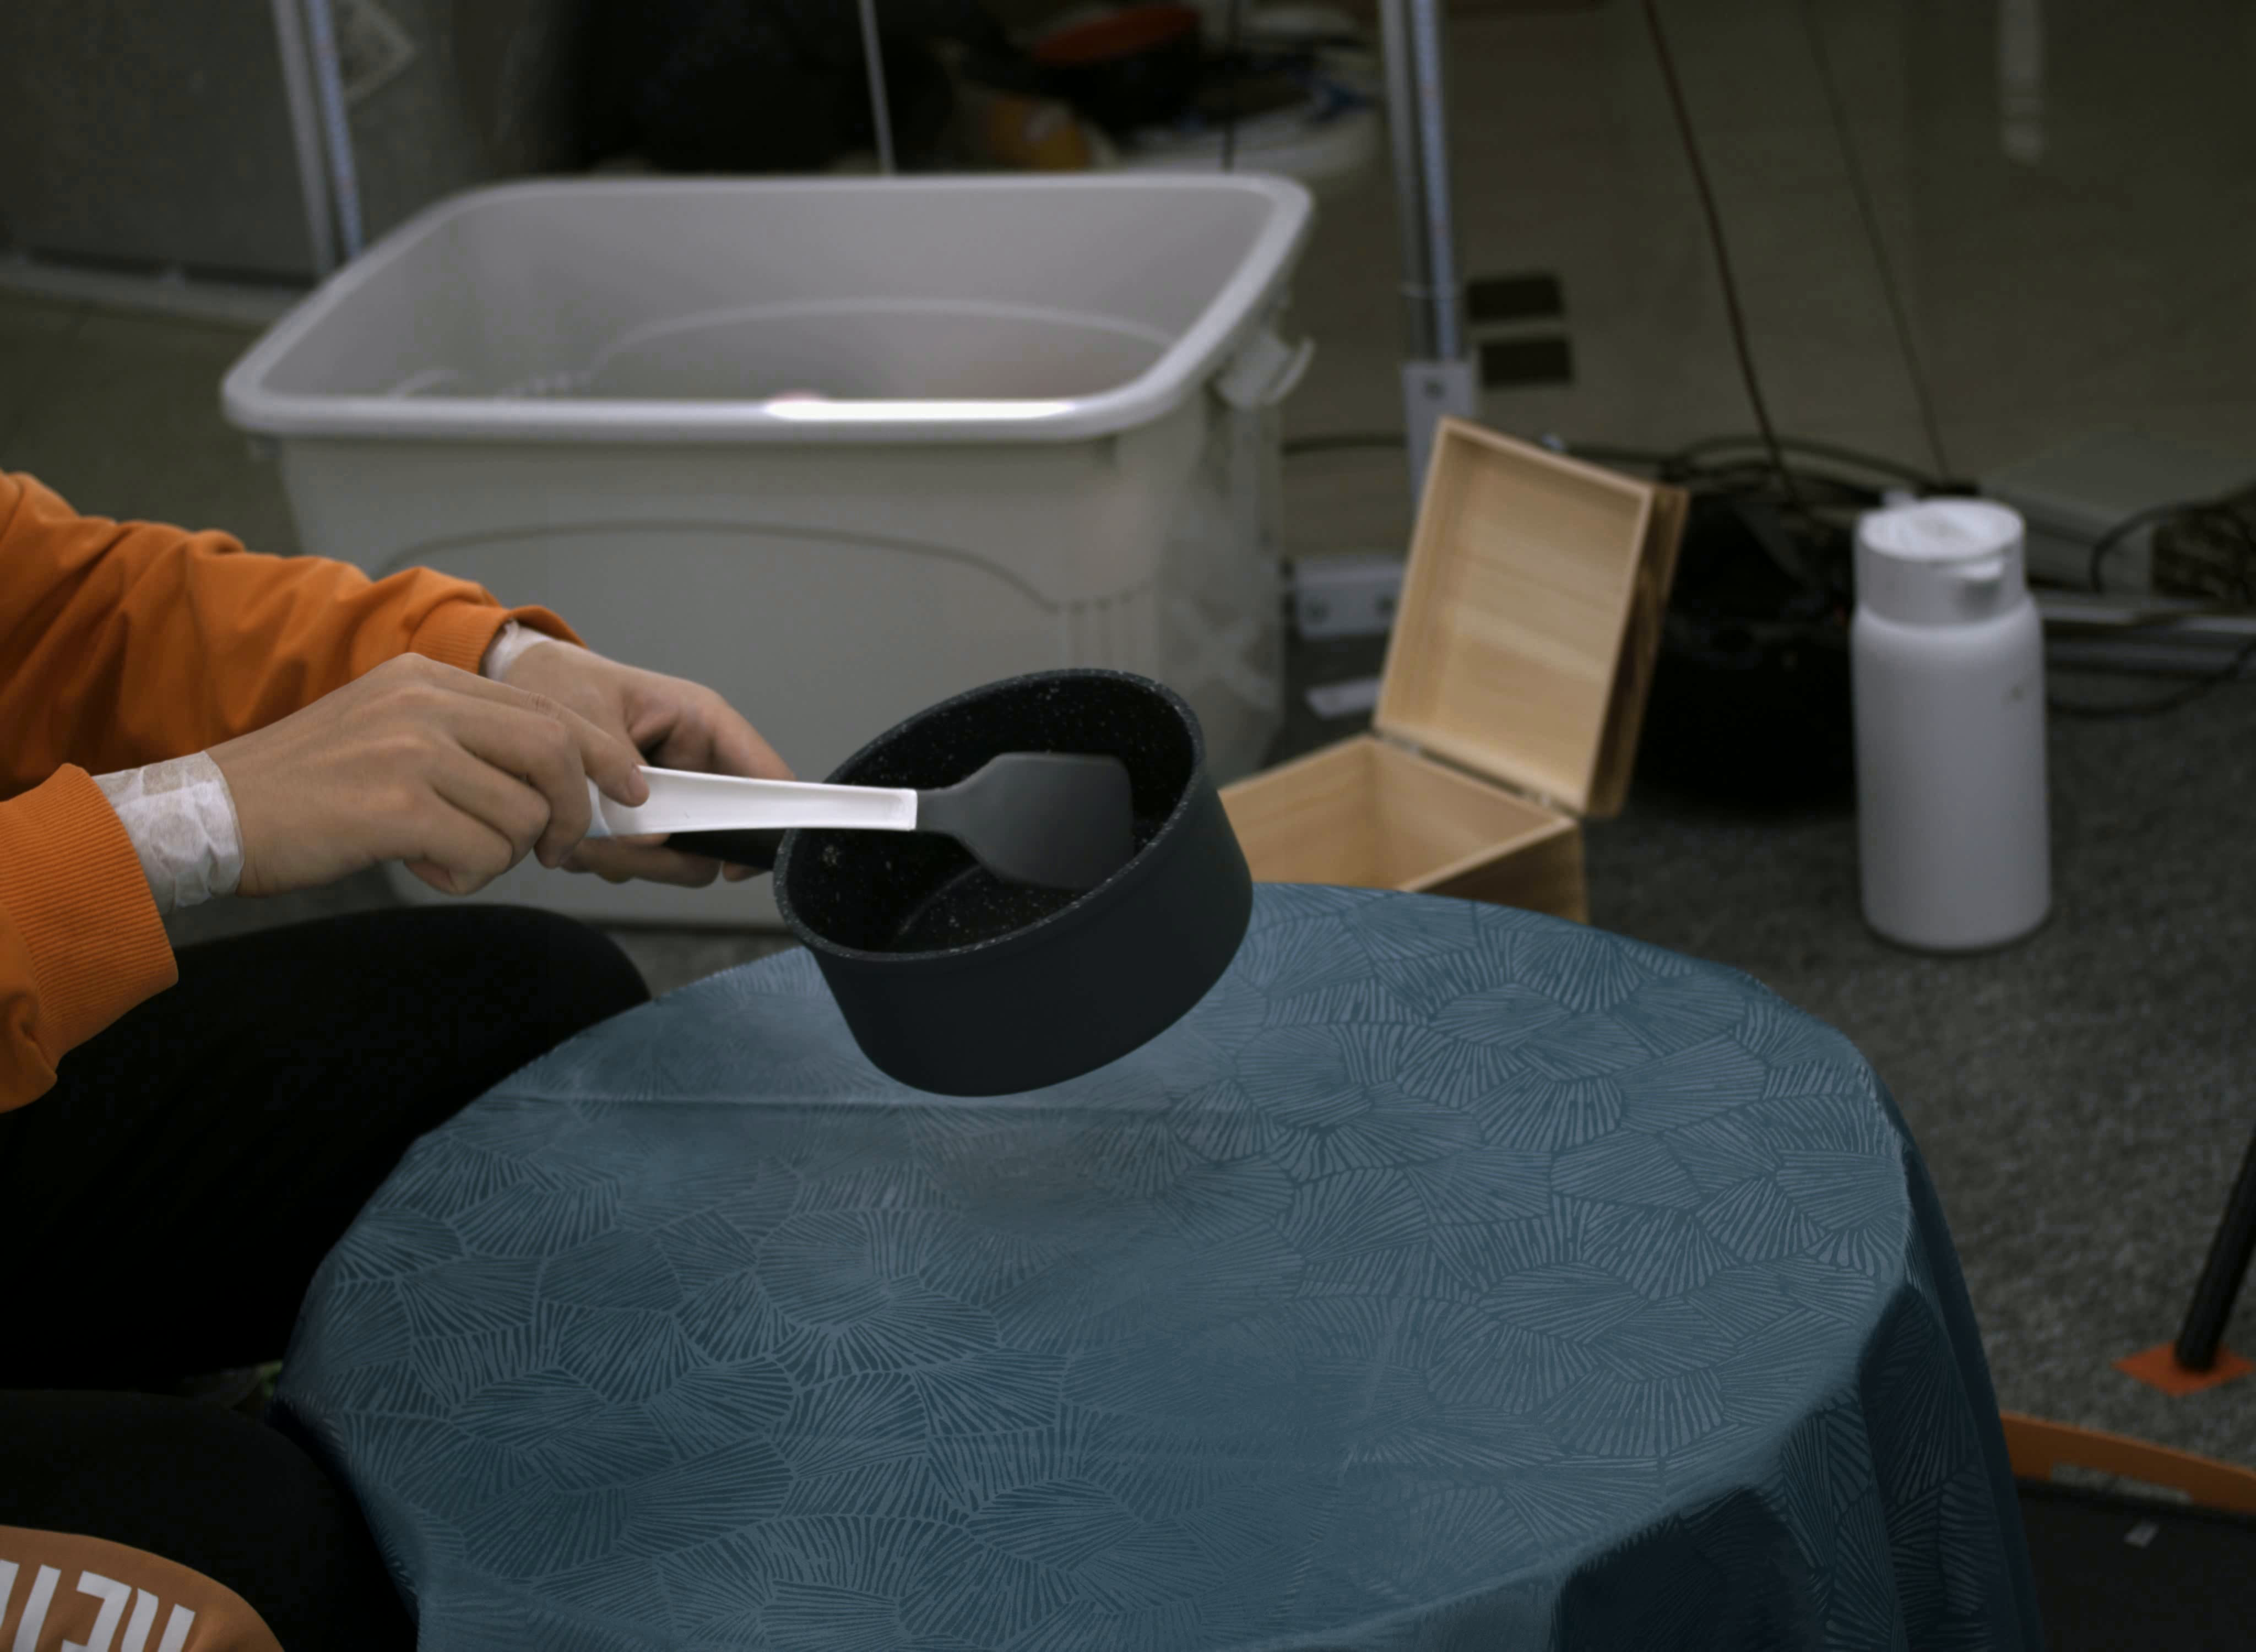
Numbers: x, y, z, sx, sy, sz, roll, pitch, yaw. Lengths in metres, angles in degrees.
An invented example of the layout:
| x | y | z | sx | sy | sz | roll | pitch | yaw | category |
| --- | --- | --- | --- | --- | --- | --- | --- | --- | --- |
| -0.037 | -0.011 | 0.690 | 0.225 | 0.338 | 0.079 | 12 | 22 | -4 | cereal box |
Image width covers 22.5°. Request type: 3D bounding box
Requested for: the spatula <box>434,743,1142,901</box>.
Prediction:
| x | y | z | sx | sy | sz | roll | pitch | yaw | category |
| --- | --- | --- | --- | --- | --- | --- | --- | --- | --- |
| -0.114 | -0.006 | 2.062 | 0.287 | 0.058 | 0.032 | 3 | -15 | -30 | spatula |

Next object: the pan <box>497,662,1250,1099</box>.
| x | y | z | sx | sy | sz | roll | pitch | yaw | category |
| --- | --- | --- | --- | --- | --- | --- | --- | --- | --- |
| -0.105 | 0.013 | 2.170 | 0.327 | 0.088 | 0.170 | 8 | 45 | 37 | pan |
